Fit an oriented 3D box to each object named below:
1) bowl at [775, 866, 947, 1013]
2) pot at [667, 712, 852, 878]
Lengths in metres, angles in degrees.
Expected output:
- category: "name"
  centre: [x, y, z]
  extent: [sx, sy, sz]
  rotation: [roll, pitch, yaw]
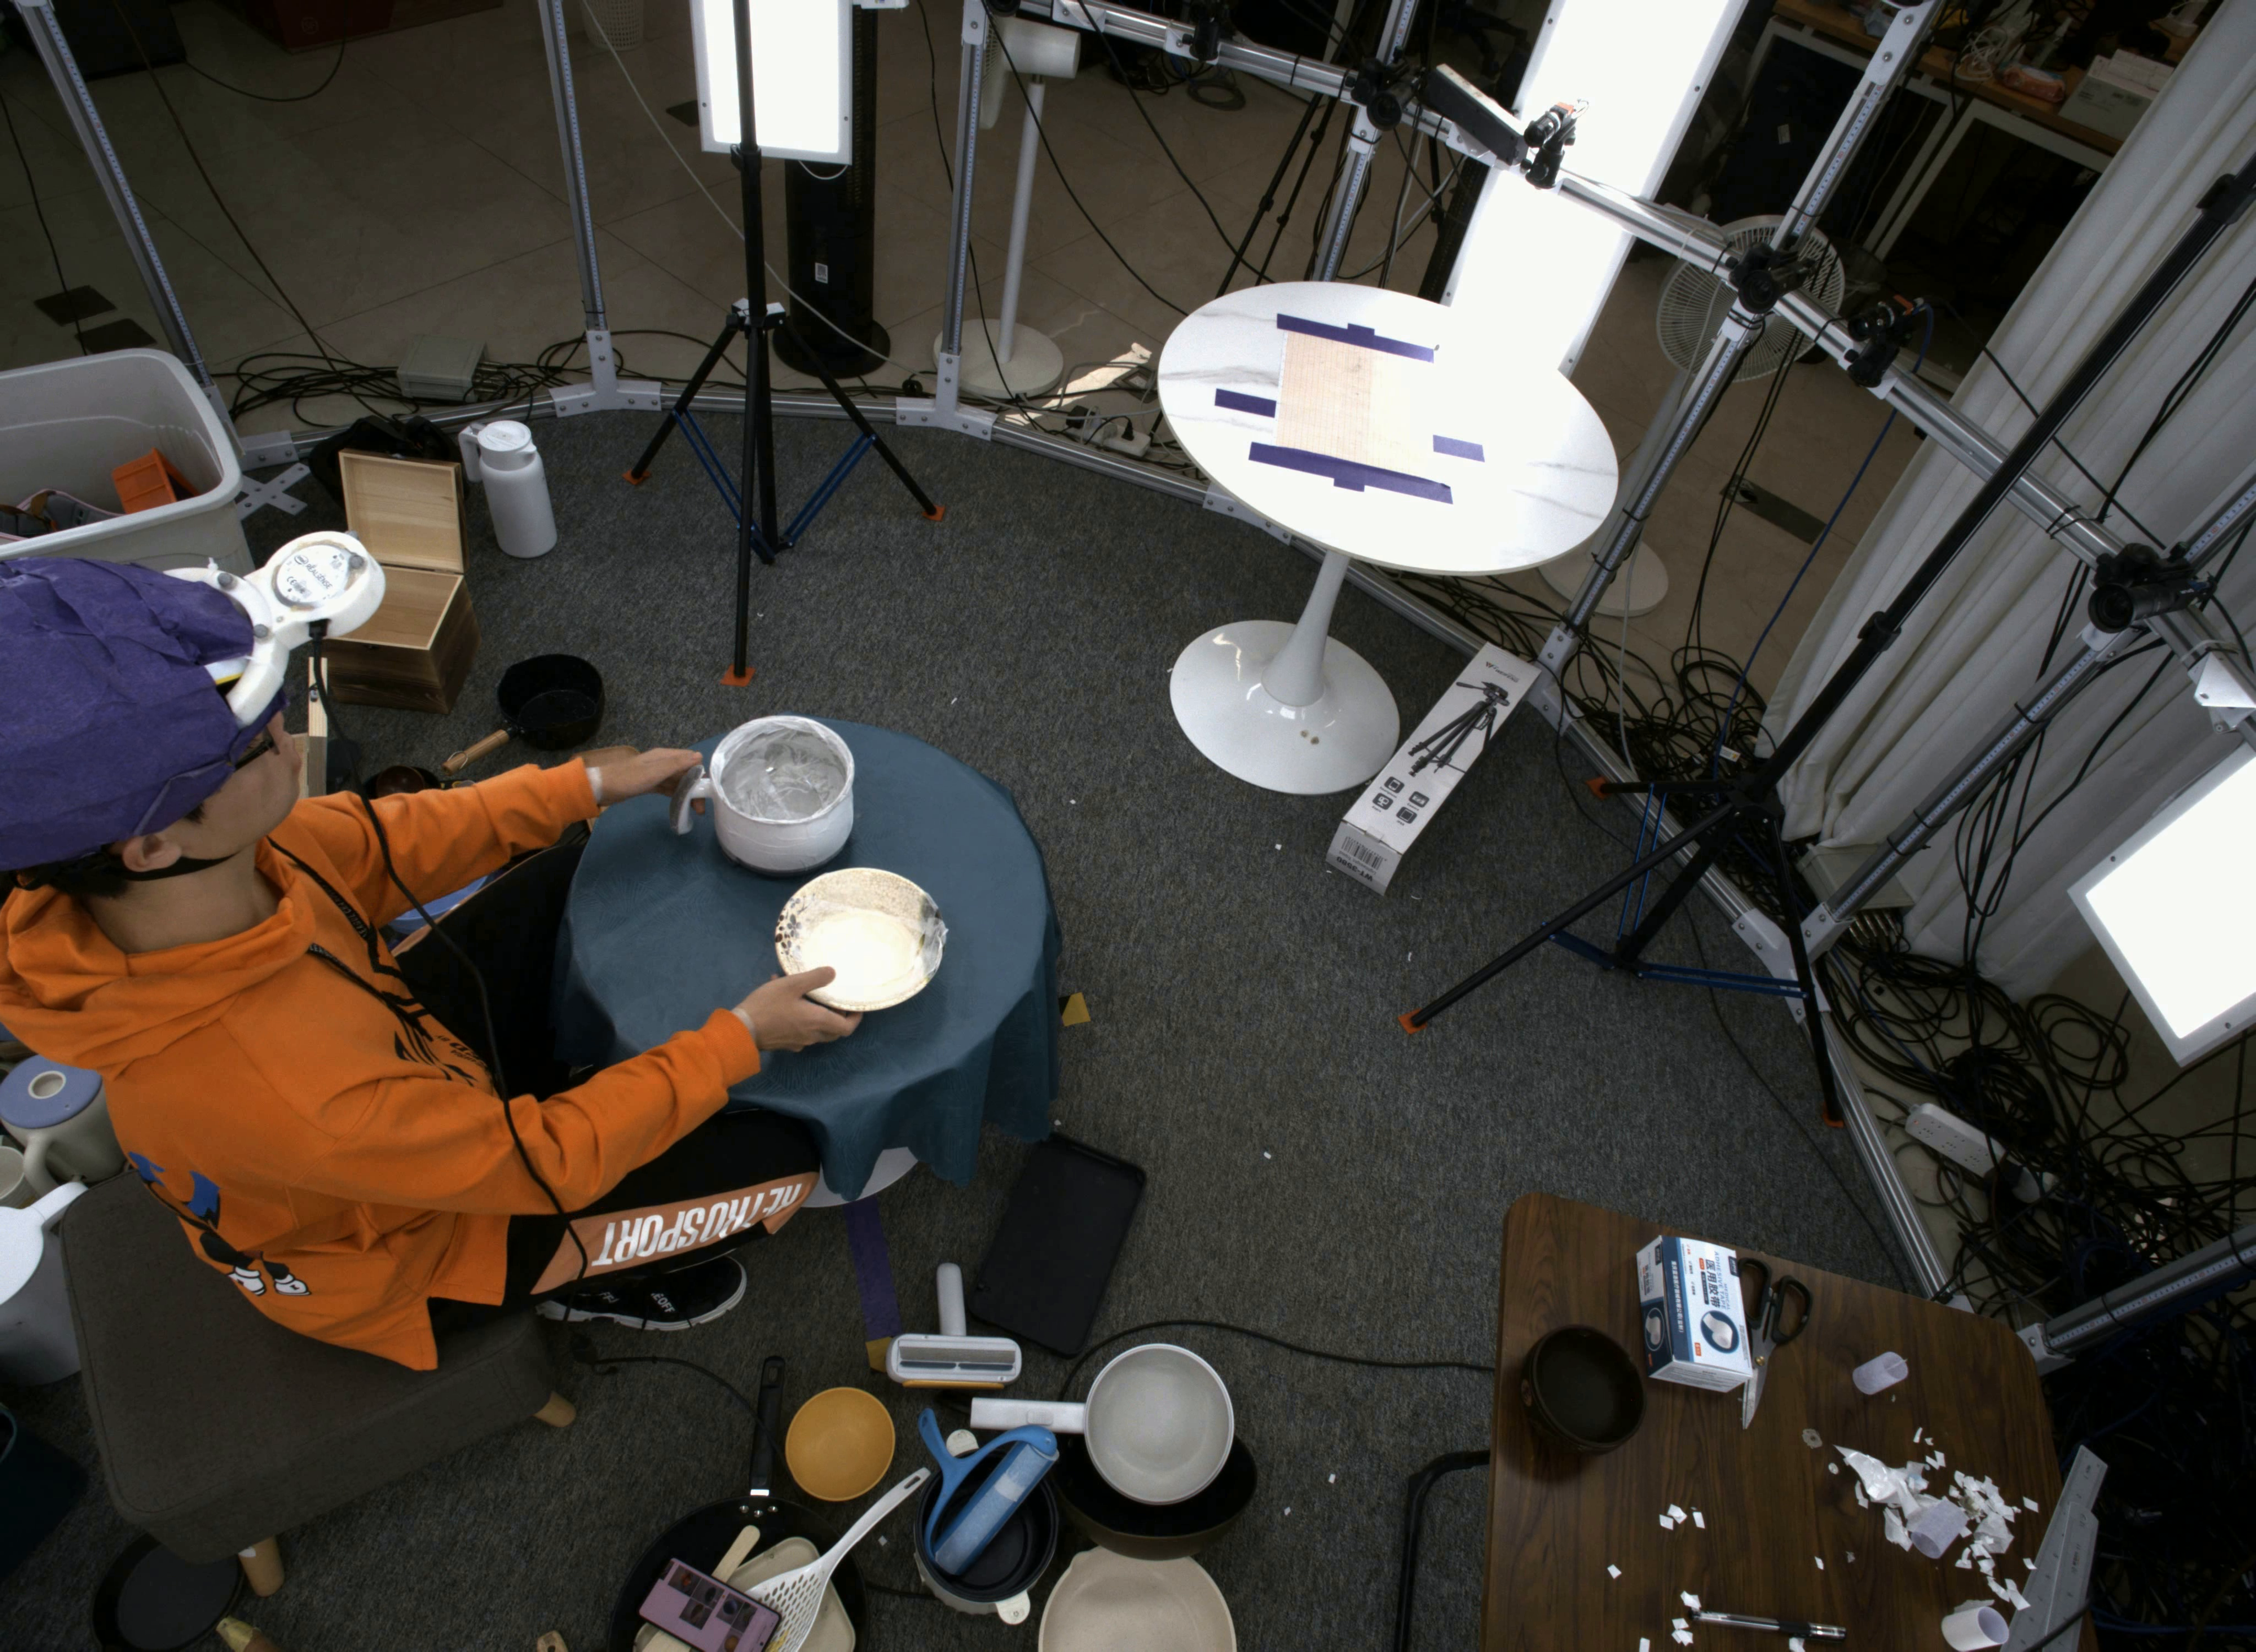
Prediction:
- category: "bowl"
  centre: [-0.322, 0.152, 1.579]
  extent: [0.203, 0.079, 0.200]
  rotation: [7, 54, -8]
- category: "pot"
  centre: [-0.467, -0.034, 1.639]
  extent: [0.234, 0.139, 0.174]
  rotation: [-3, 53, -17]
